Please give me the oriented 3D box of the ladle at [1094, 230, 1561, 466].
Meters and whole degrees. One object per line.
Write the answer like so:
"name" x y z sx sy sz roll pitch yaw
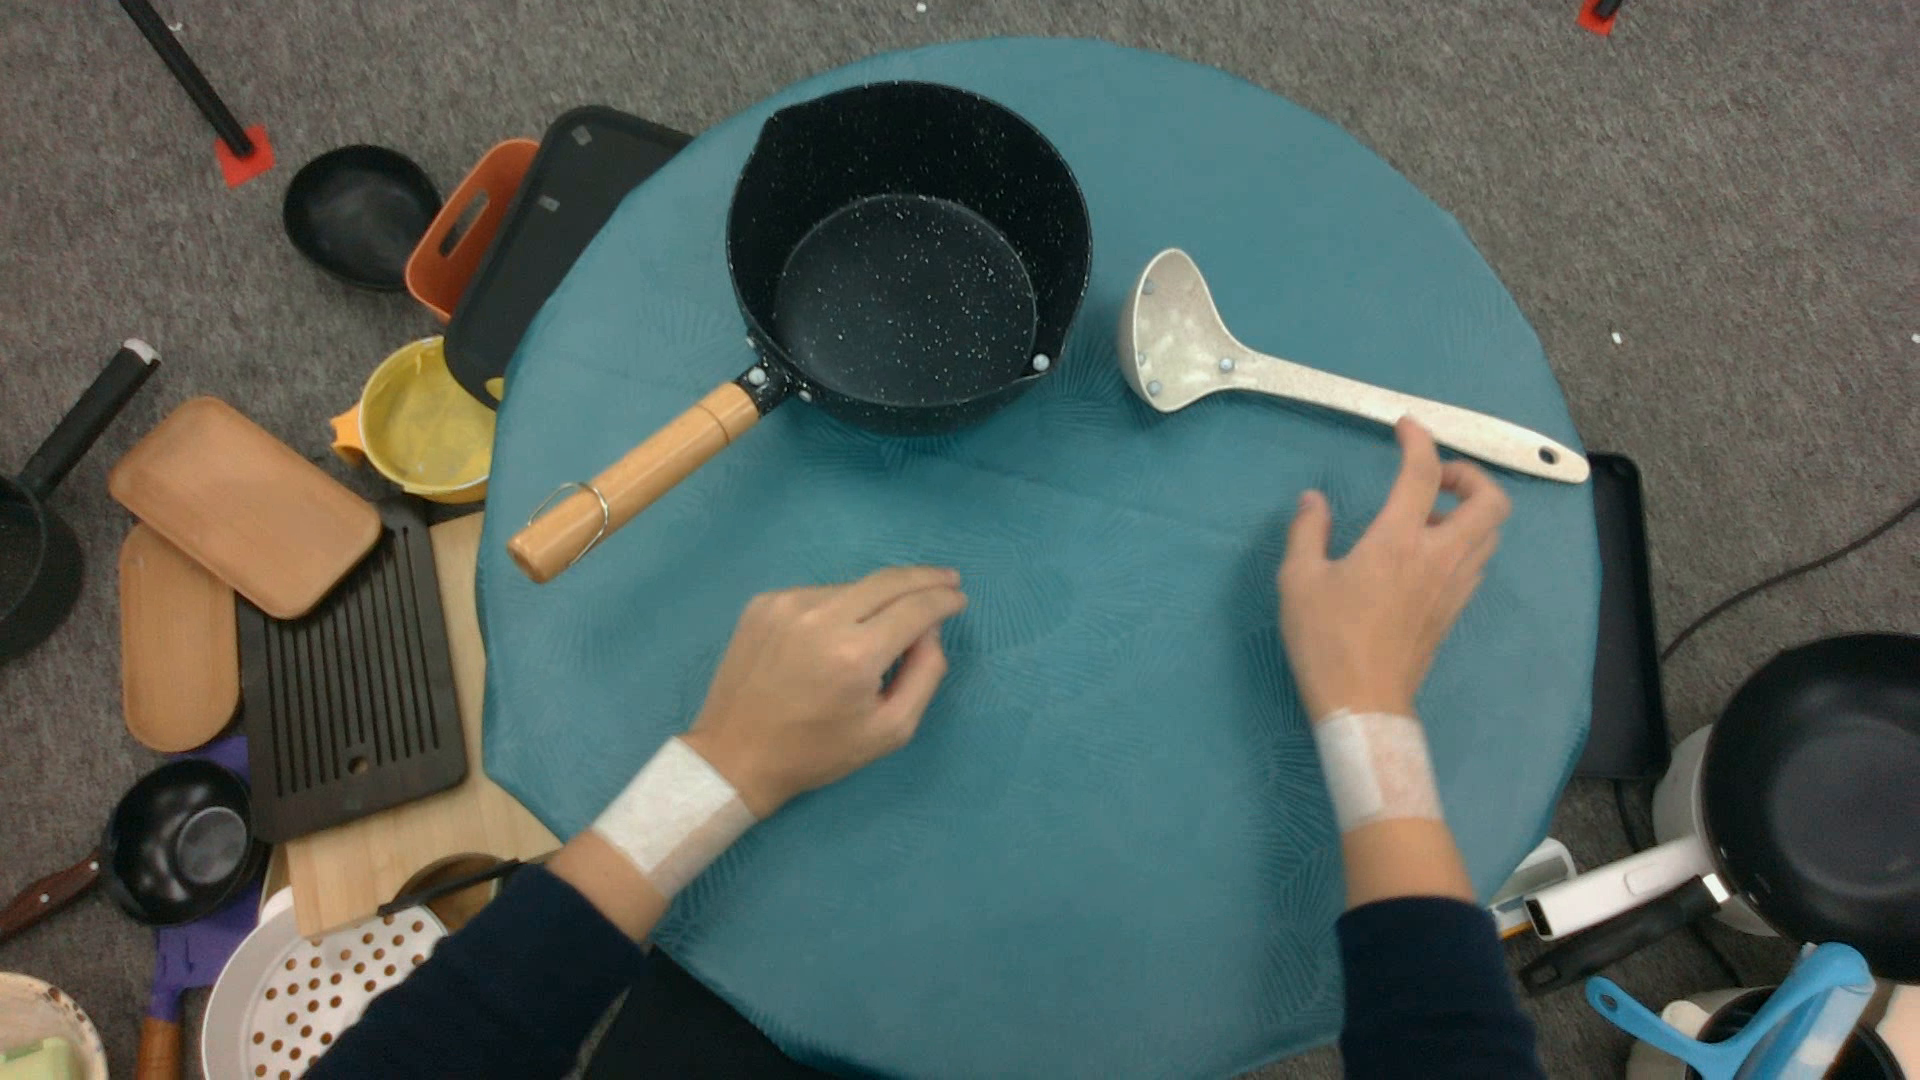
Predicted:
"ladle" 0.205 -0.094 0.738 0.275 0.069 0.089 15 69 0

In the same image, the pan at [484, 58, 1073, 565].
"pan" -0.090 -0.097 0.694 0.207 0.108 0.344 42 73 7
